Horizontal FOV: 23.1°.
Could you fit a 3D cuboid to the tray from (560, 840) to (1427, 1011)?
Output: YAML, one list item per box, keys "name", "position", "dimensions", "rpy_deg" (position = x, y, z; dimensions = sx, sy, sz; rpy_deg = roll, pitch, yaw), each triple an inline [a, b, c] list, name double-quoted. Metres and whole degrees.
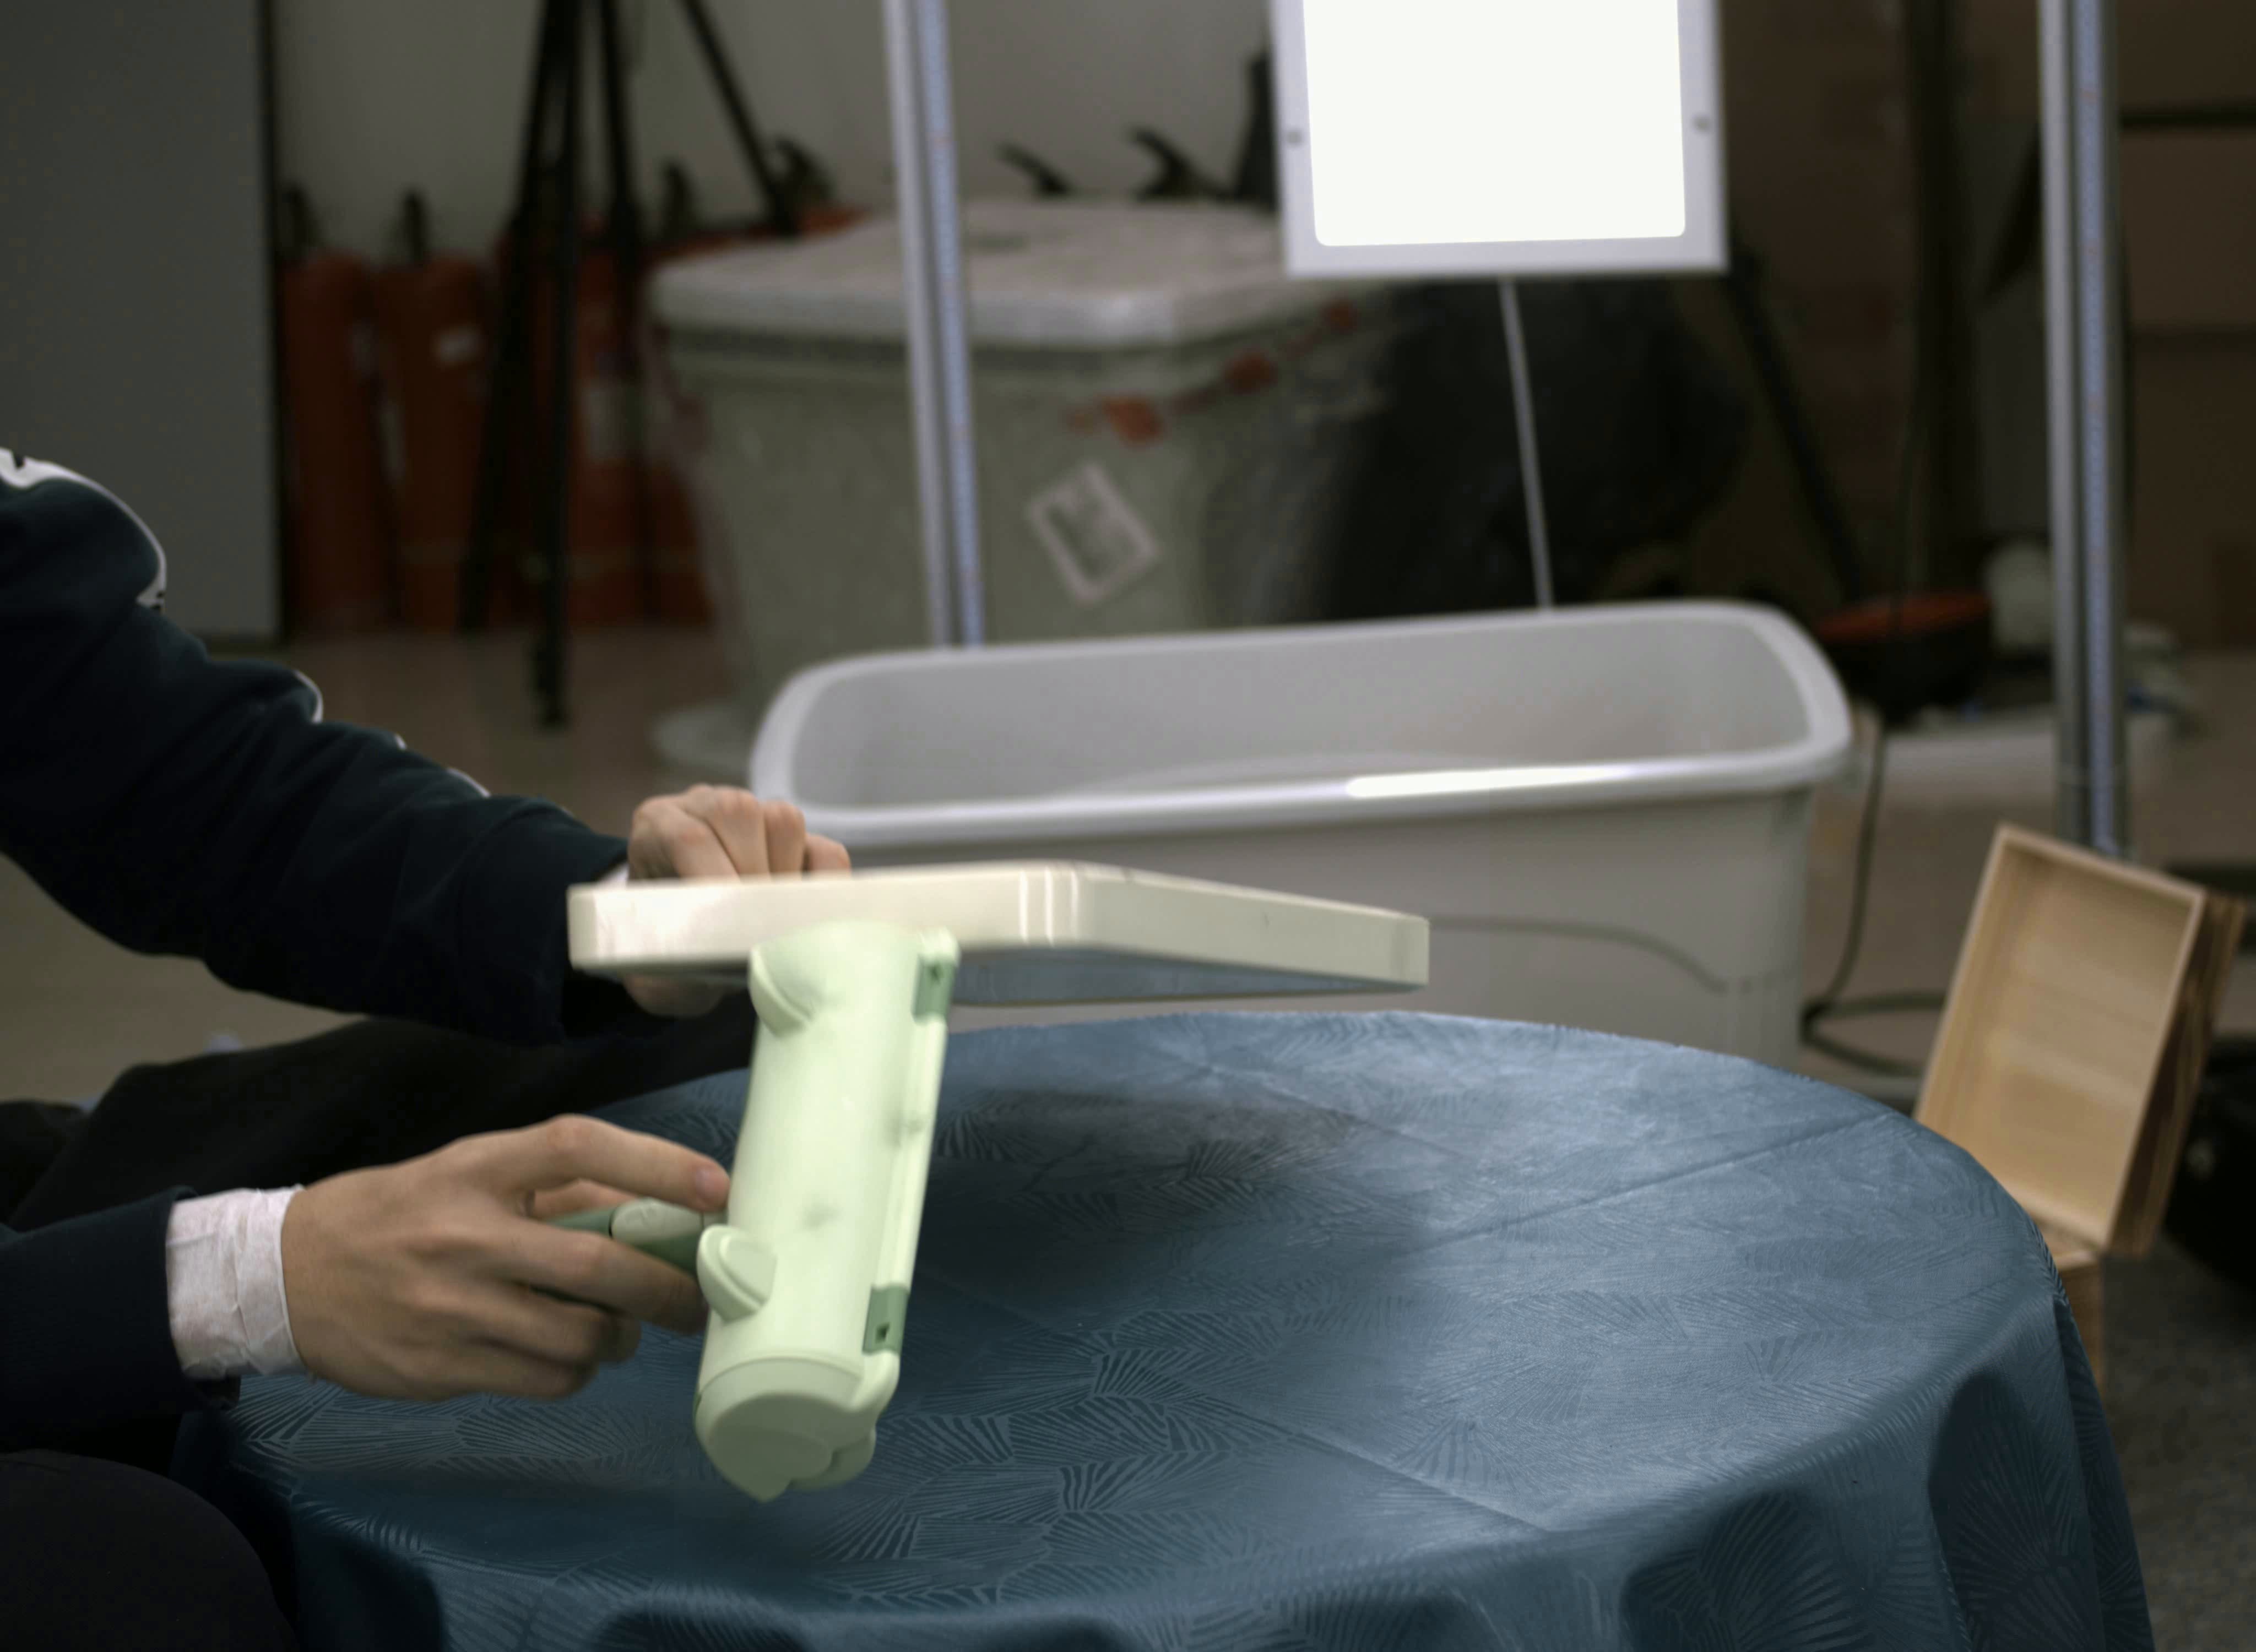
- name: "tray"
  position: [-0.039, 0.037, 1.863]
  dimensions: [0.195, 0.027, 0.294]
  rpy_deg: [-4, -7, 28]

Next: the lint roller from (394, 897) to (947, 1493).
- name: "lint roller"
  position: [-0.146, 0.110, 1.636]
  dimensions: [0.185, 0.082, 0.197]
  rpy_deg: [-12, 42, 17]
